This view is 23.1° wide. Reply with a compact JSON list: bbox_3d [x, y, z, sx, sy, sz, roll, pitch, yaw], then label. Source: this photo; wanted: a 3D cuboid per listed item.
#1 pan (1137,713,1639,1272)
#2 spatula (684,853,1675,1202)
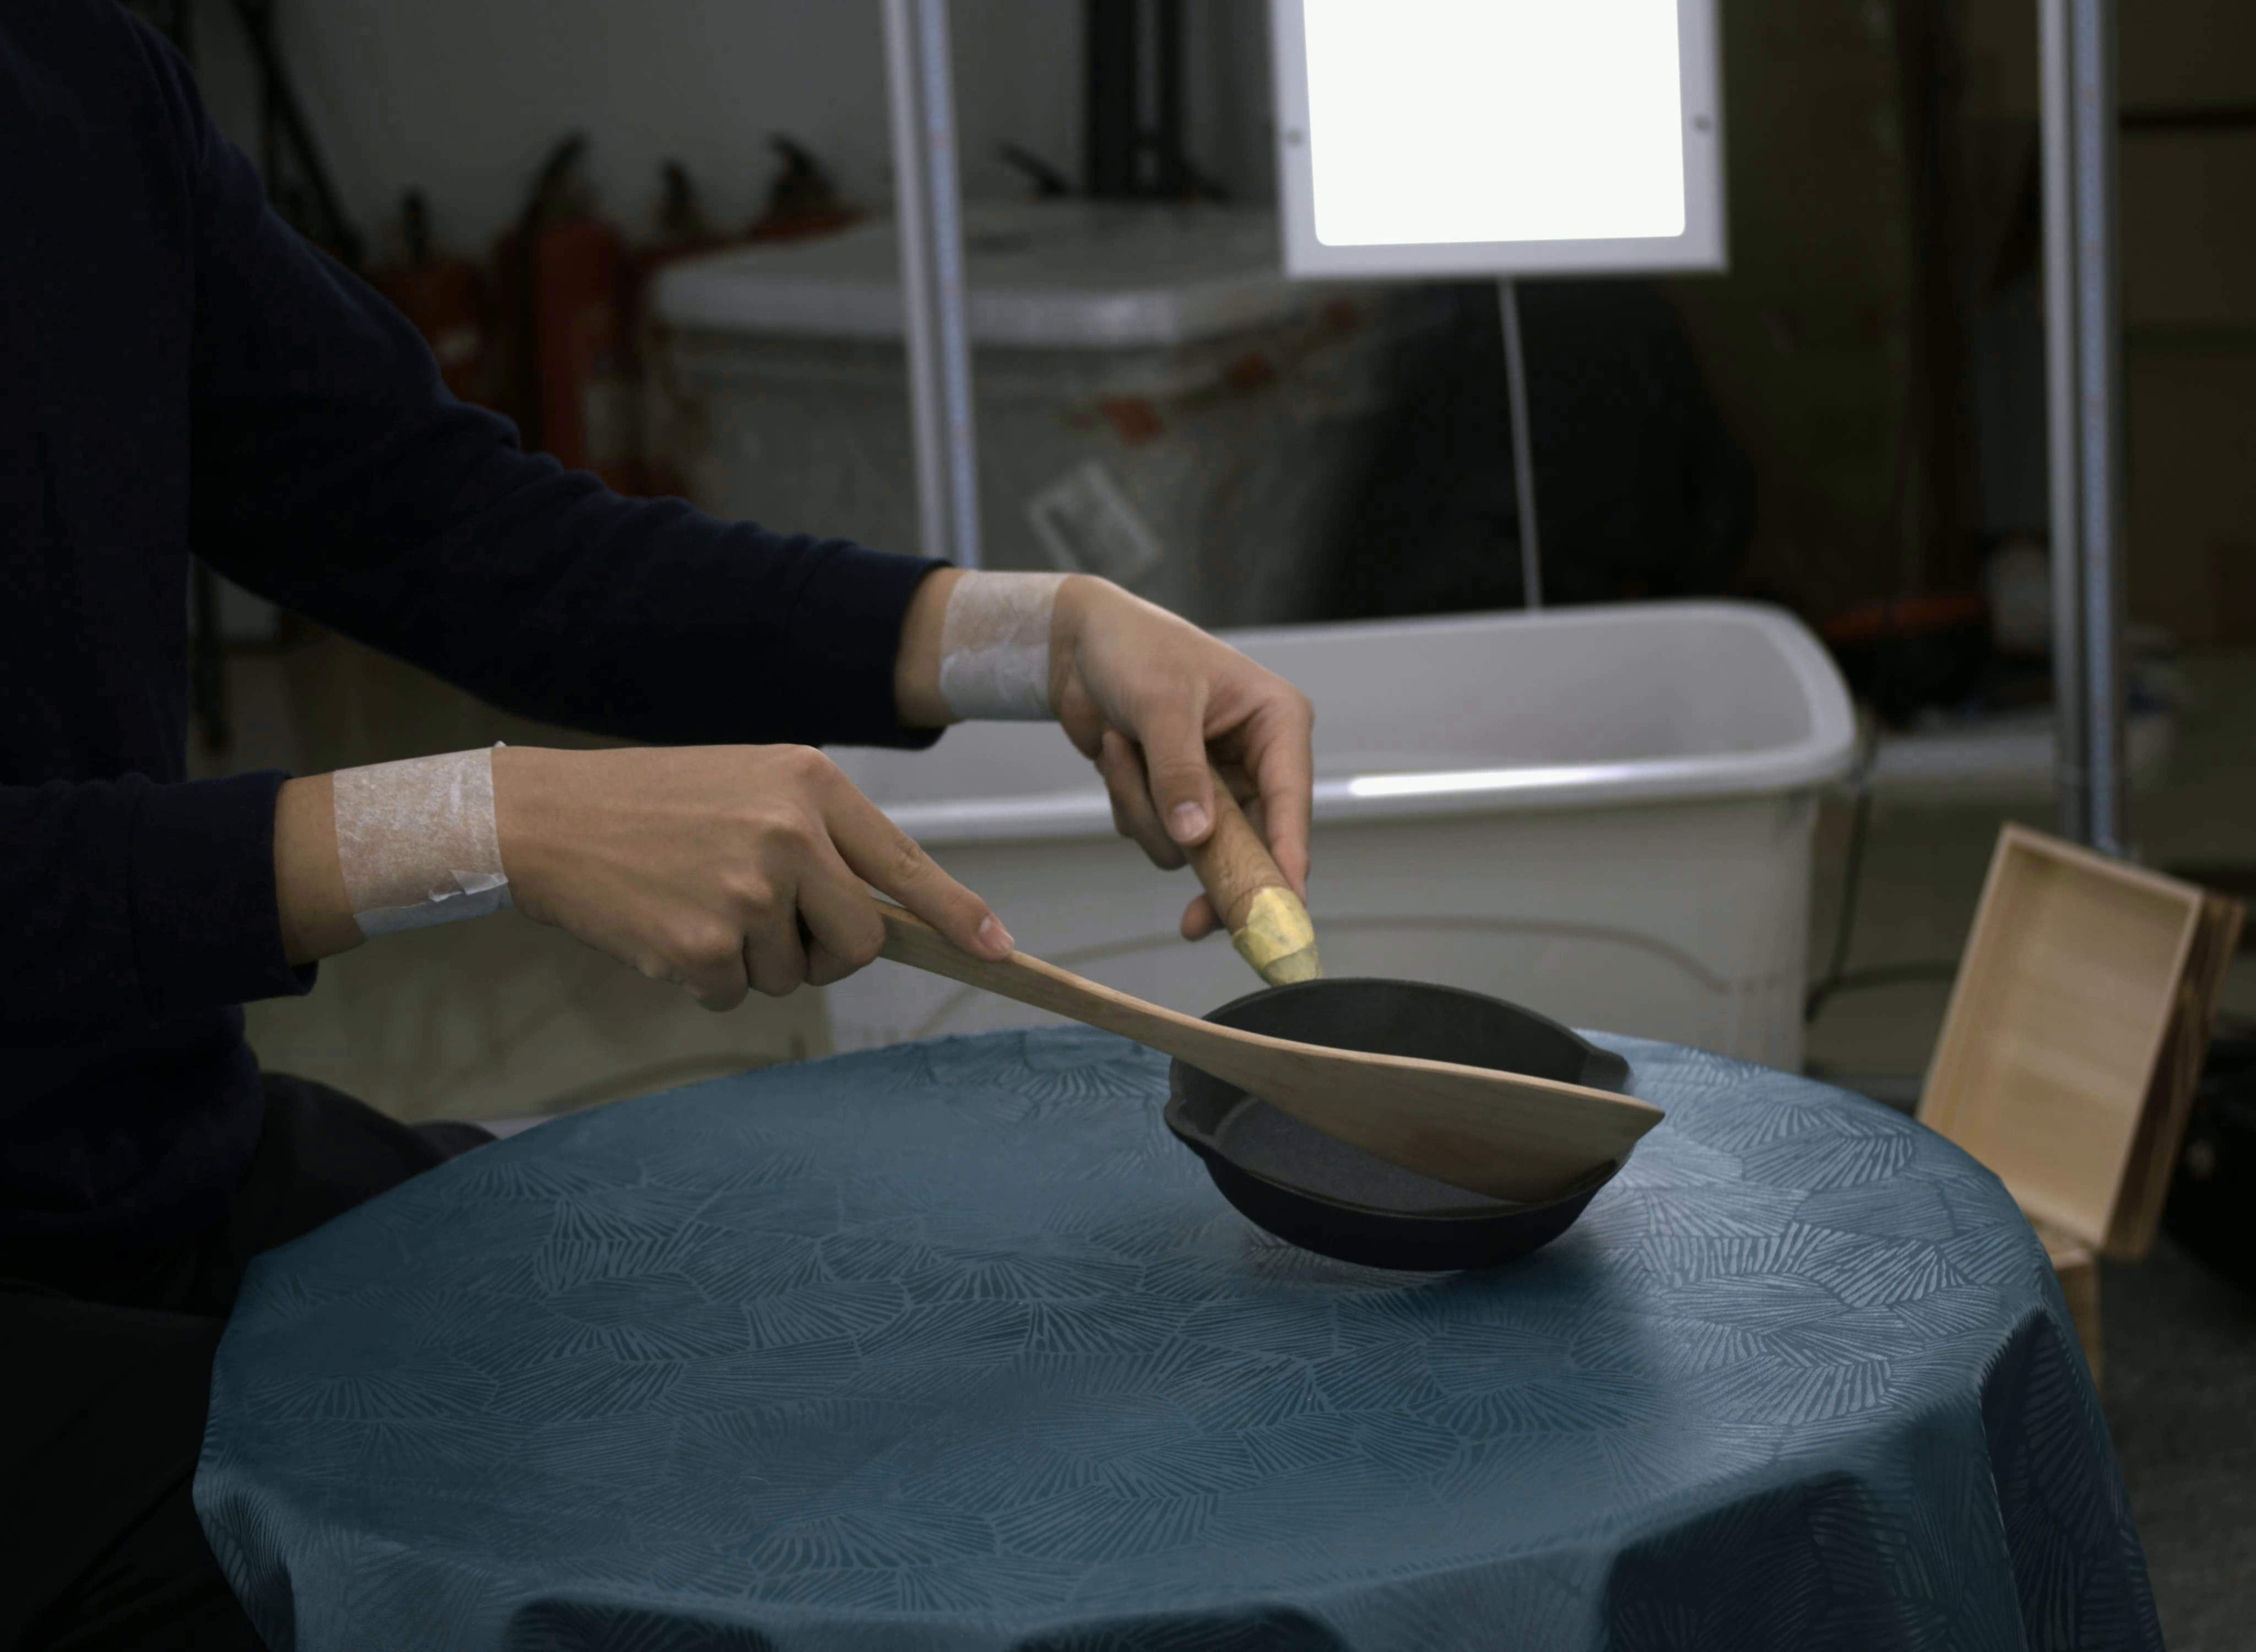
[{"bbox_3d":[0.065,0.055,1.896,0.166,0.050,0.327,-4,30,-18],"label":"pan"},{"bbox_3d":[0.013,0.063,1.772,0.325,0.081,0.016,19,56,-6],"label":"spatula"}]
